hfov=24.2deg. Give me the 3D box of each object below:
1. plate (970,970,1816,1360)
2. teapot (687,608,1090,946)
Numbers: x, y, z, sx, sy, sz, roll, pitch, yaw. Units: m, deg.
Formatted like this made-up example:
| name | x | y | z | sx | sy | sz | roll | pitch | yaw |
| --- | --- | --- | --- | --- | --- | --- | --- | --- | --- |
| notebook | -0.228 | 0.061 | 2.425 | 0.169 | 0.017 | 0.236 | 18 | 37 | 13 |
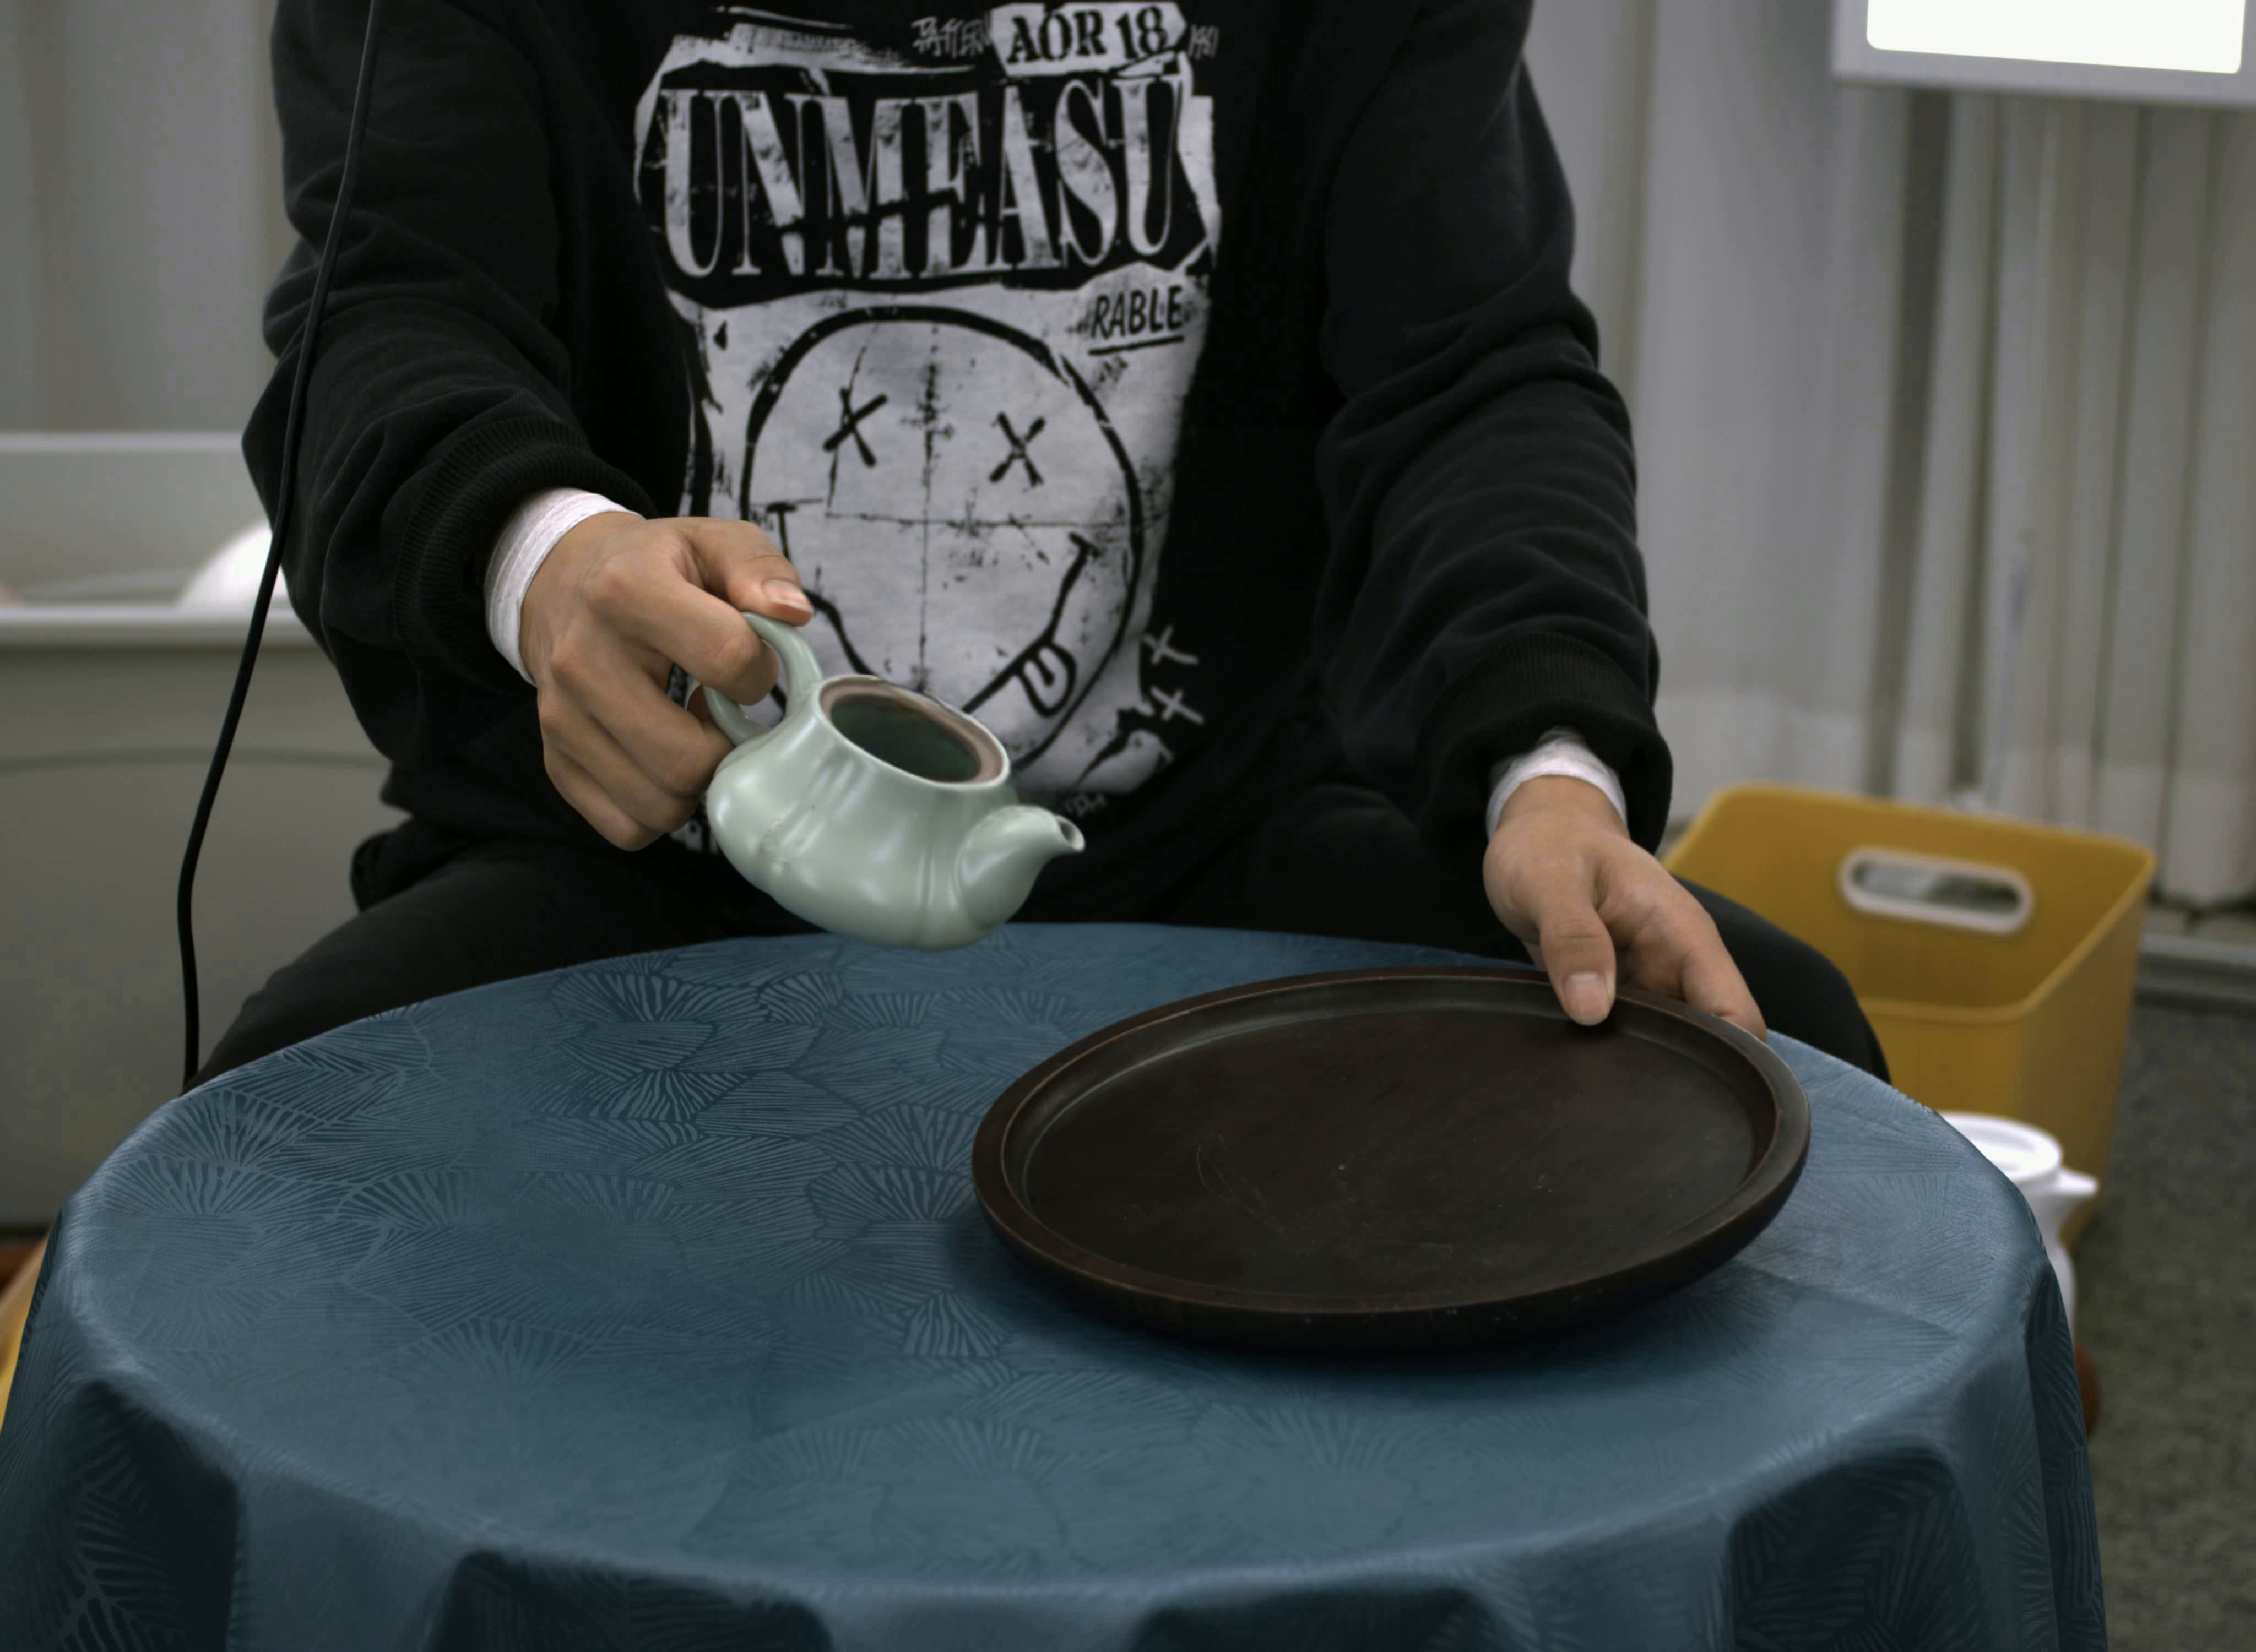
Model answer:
| name | x | y | z | sx | sy | sz | roll | pitch | yaw |
| --- | --- | --- | --- | --- | --- | --- | --- | --- | --- |
| plate | 0.079 | 0.098 | 1.581 | 0.254 | 0.029 | 0.253 | -4 | 22 | 2 |
| teapot | -0.077 | -0.010 | 1.533 | 0.135 | 0.062 | 0.096 | 34 | 27 | 18 |
